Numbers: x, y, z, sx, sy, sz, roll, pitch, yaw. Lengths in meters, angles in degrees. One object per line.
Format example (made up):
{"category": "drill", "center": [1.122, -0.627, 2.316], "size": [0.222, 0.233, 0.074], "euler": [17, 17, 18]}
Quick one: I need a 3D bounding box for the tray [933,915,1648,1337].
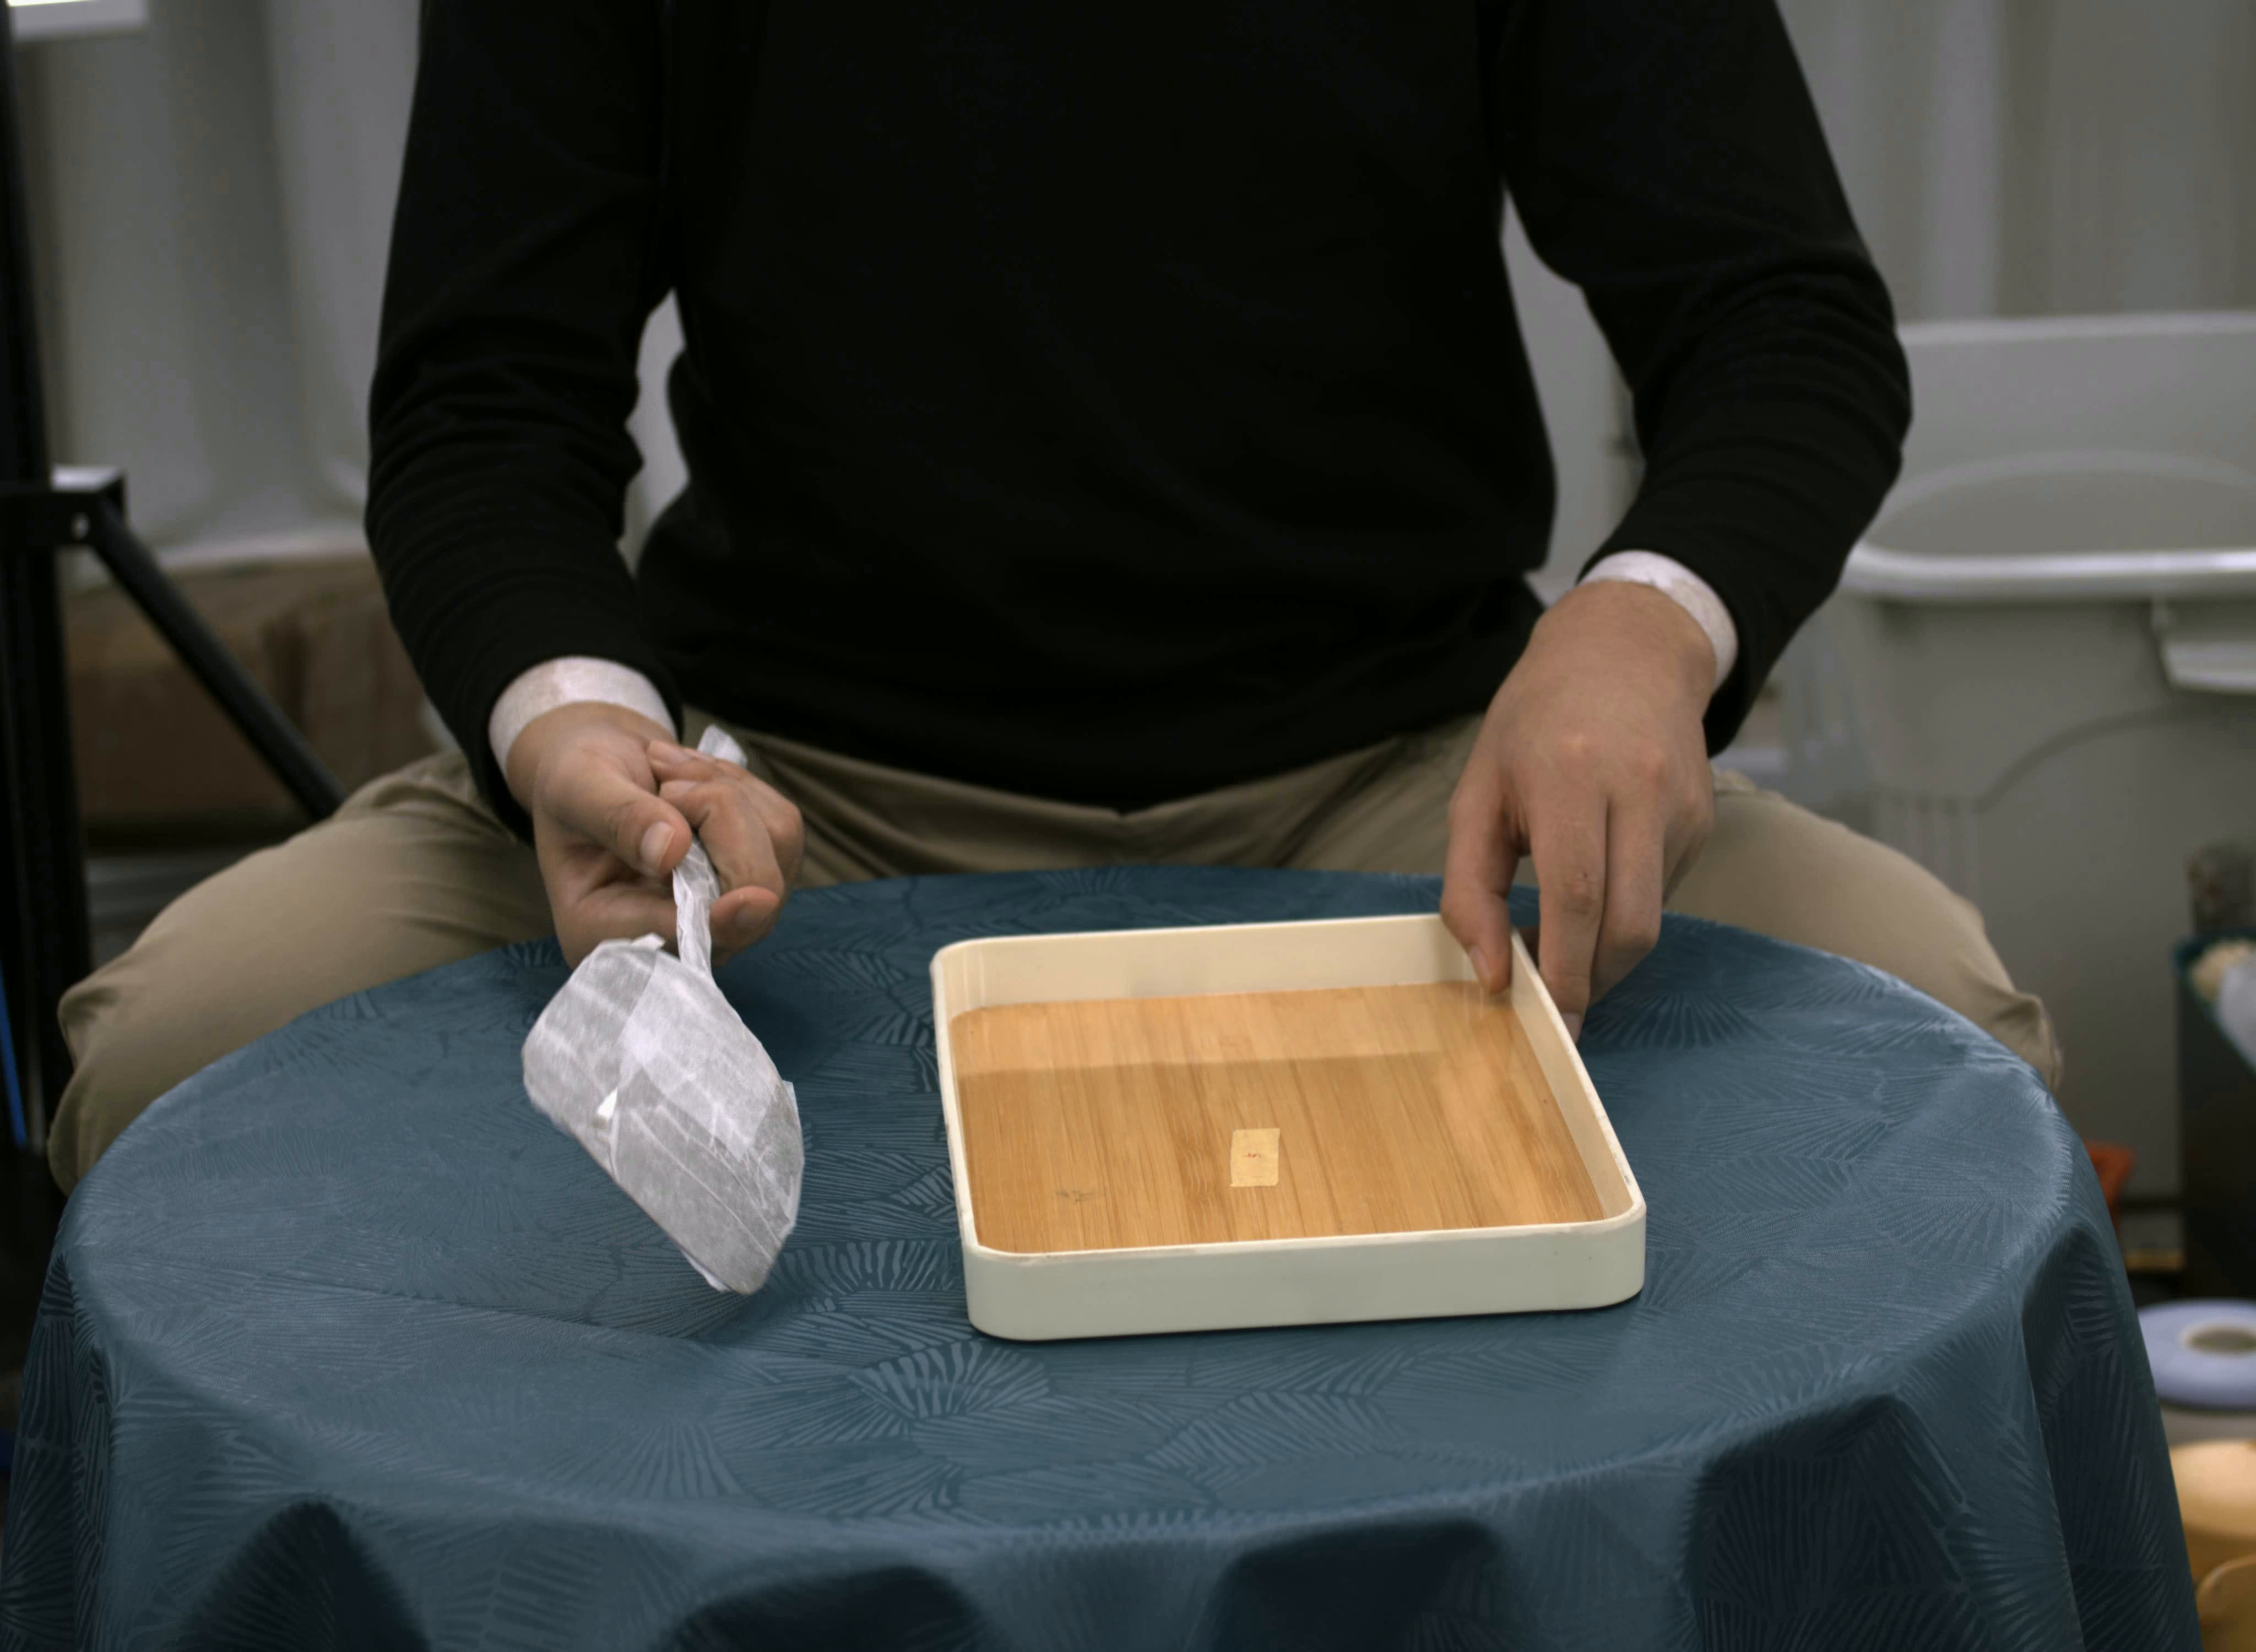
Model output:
{"category": "tray", "center": [0.041, 0.085, 1.582], "size": [0.190, 0.027, 0.302], "euler": [-3, 16, -2]}

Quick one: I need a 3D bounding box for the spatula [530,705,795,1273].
{"category": "spatula", "center": [-0.133, 0.030, 1.605], "size": [0.045, 0.098, 0.367], "euler": [-35, 16, 5]}
